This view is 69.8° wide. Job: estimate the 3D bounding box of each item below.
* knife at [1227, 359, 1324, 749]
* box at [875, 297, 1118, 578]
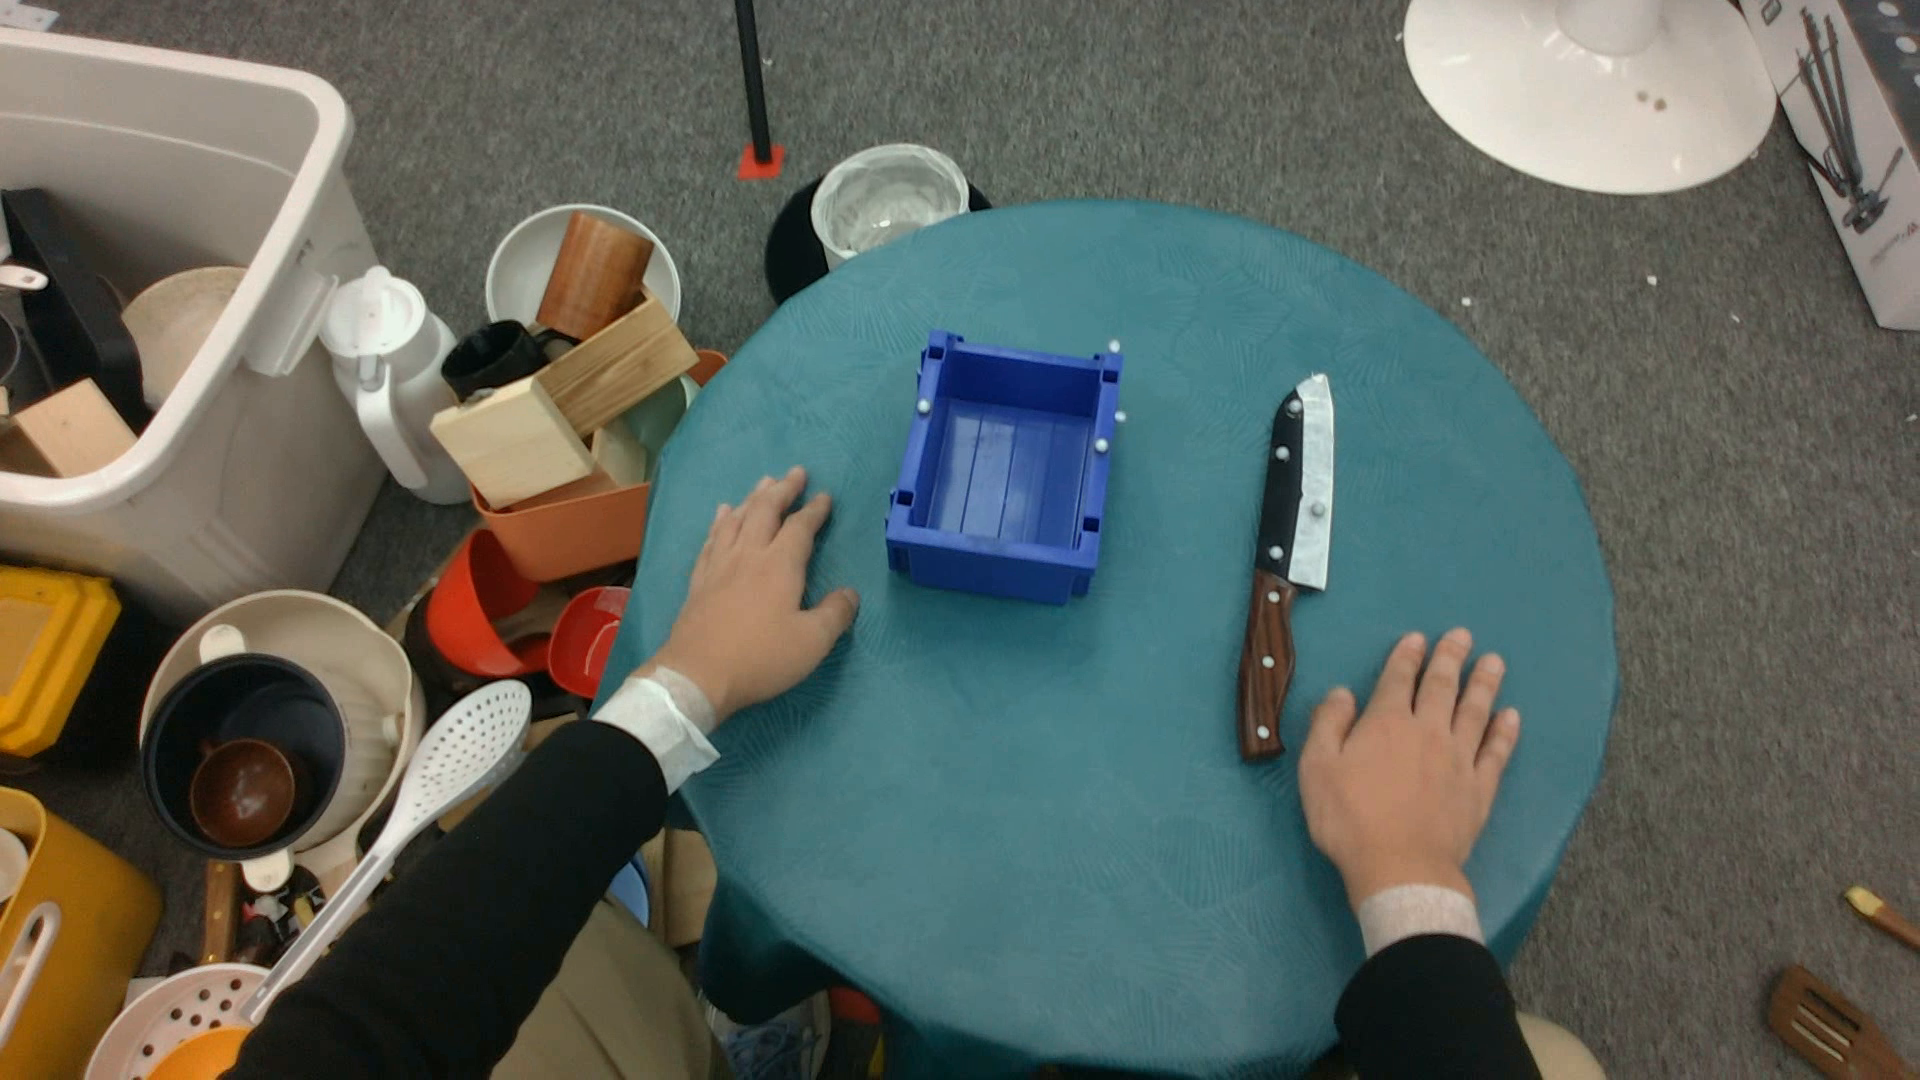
[{"bbox_3d":[0.198,-0.002,0.852,0.050,0.020,0.290,16,60,1],"label":"knife"},{"bbox_3d":[0.024,-0.070,0.846,0.124,0.081,0.180,10,65,4],"label":"box"}]
